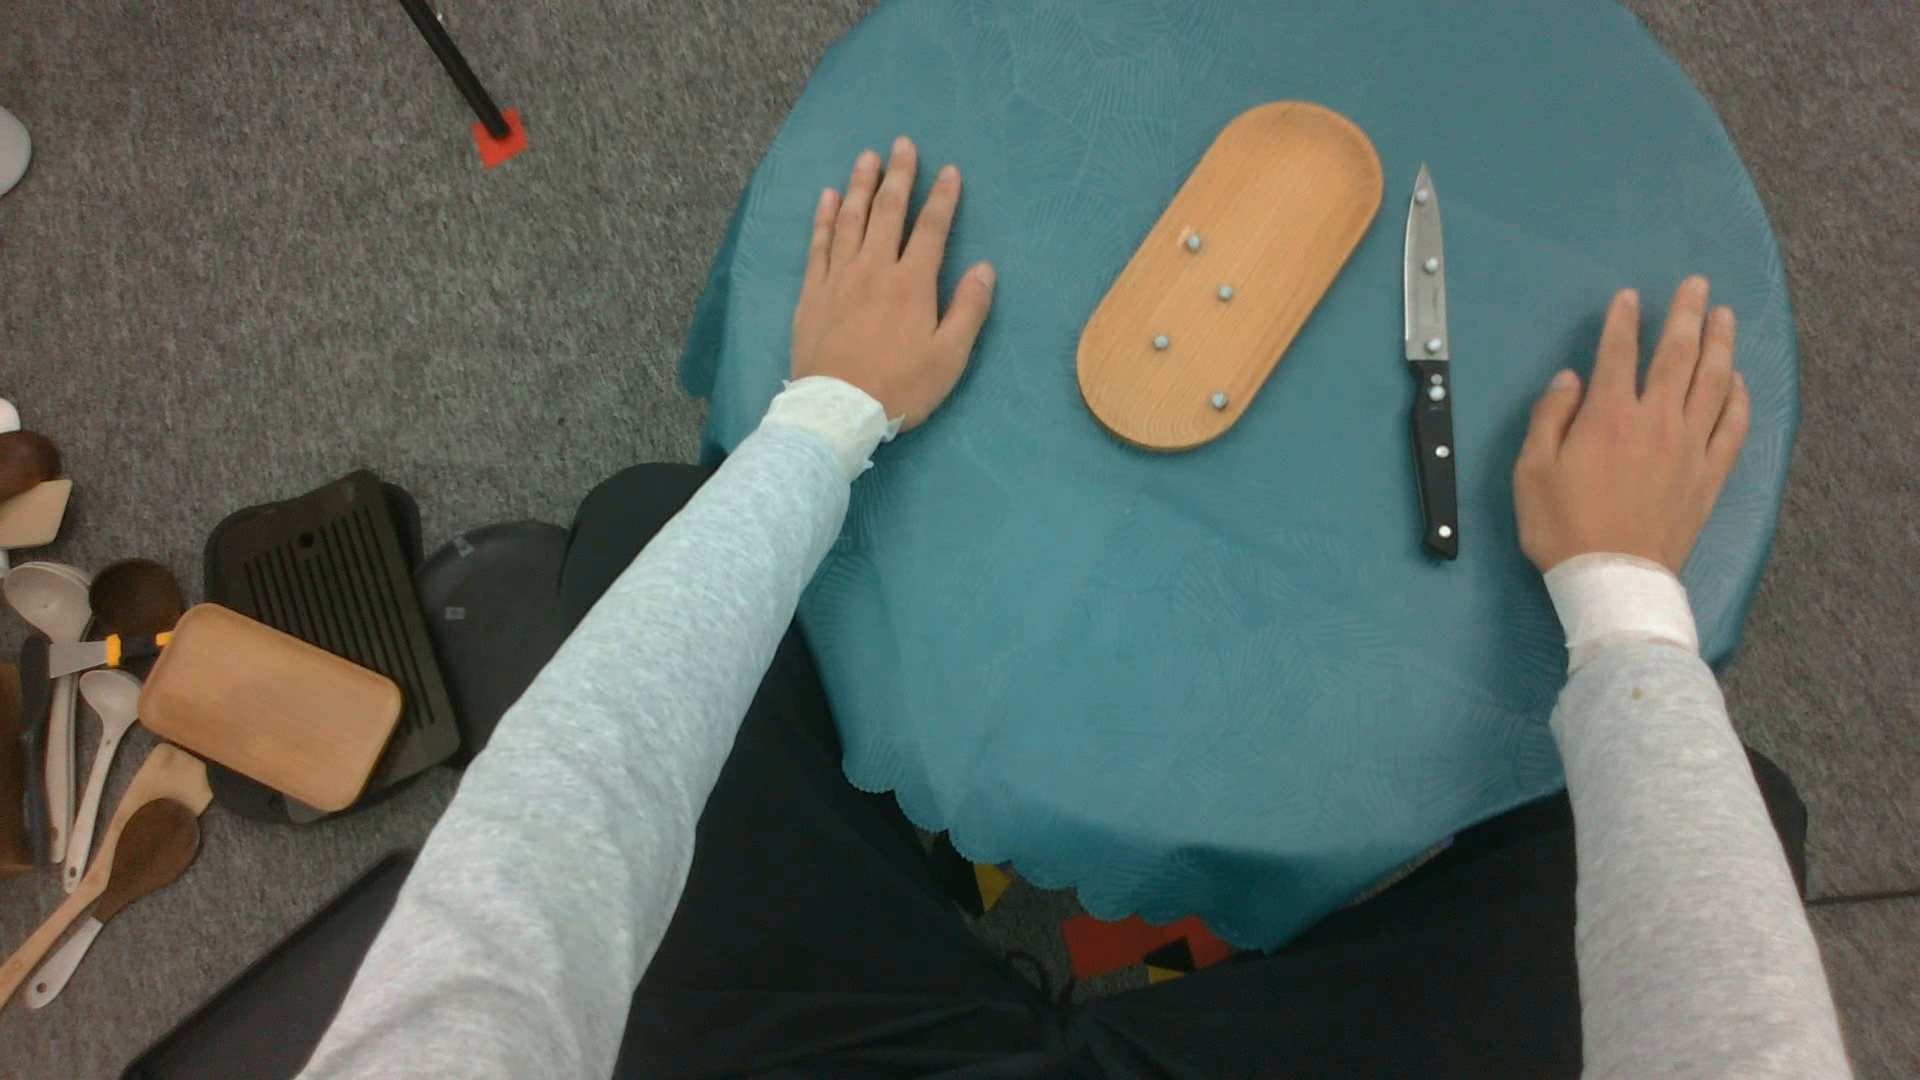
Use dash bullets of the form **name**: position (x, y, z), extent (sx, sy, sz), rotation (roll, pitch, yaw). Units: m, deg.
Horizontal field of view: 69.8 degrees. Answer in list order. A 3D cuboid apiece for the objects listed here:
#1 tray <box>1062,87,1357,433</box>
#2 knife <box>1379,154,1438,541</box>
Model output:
- **tray**: position (0.142, -0.161, 0.781), extent (0.101, 0.020, 0.232), rotation (31, 76, 9)
- **knife**: position (0.249, -0.113, 0.764), extent (0.024, 0.016, 0.239), rotation (1, 71, 5)
